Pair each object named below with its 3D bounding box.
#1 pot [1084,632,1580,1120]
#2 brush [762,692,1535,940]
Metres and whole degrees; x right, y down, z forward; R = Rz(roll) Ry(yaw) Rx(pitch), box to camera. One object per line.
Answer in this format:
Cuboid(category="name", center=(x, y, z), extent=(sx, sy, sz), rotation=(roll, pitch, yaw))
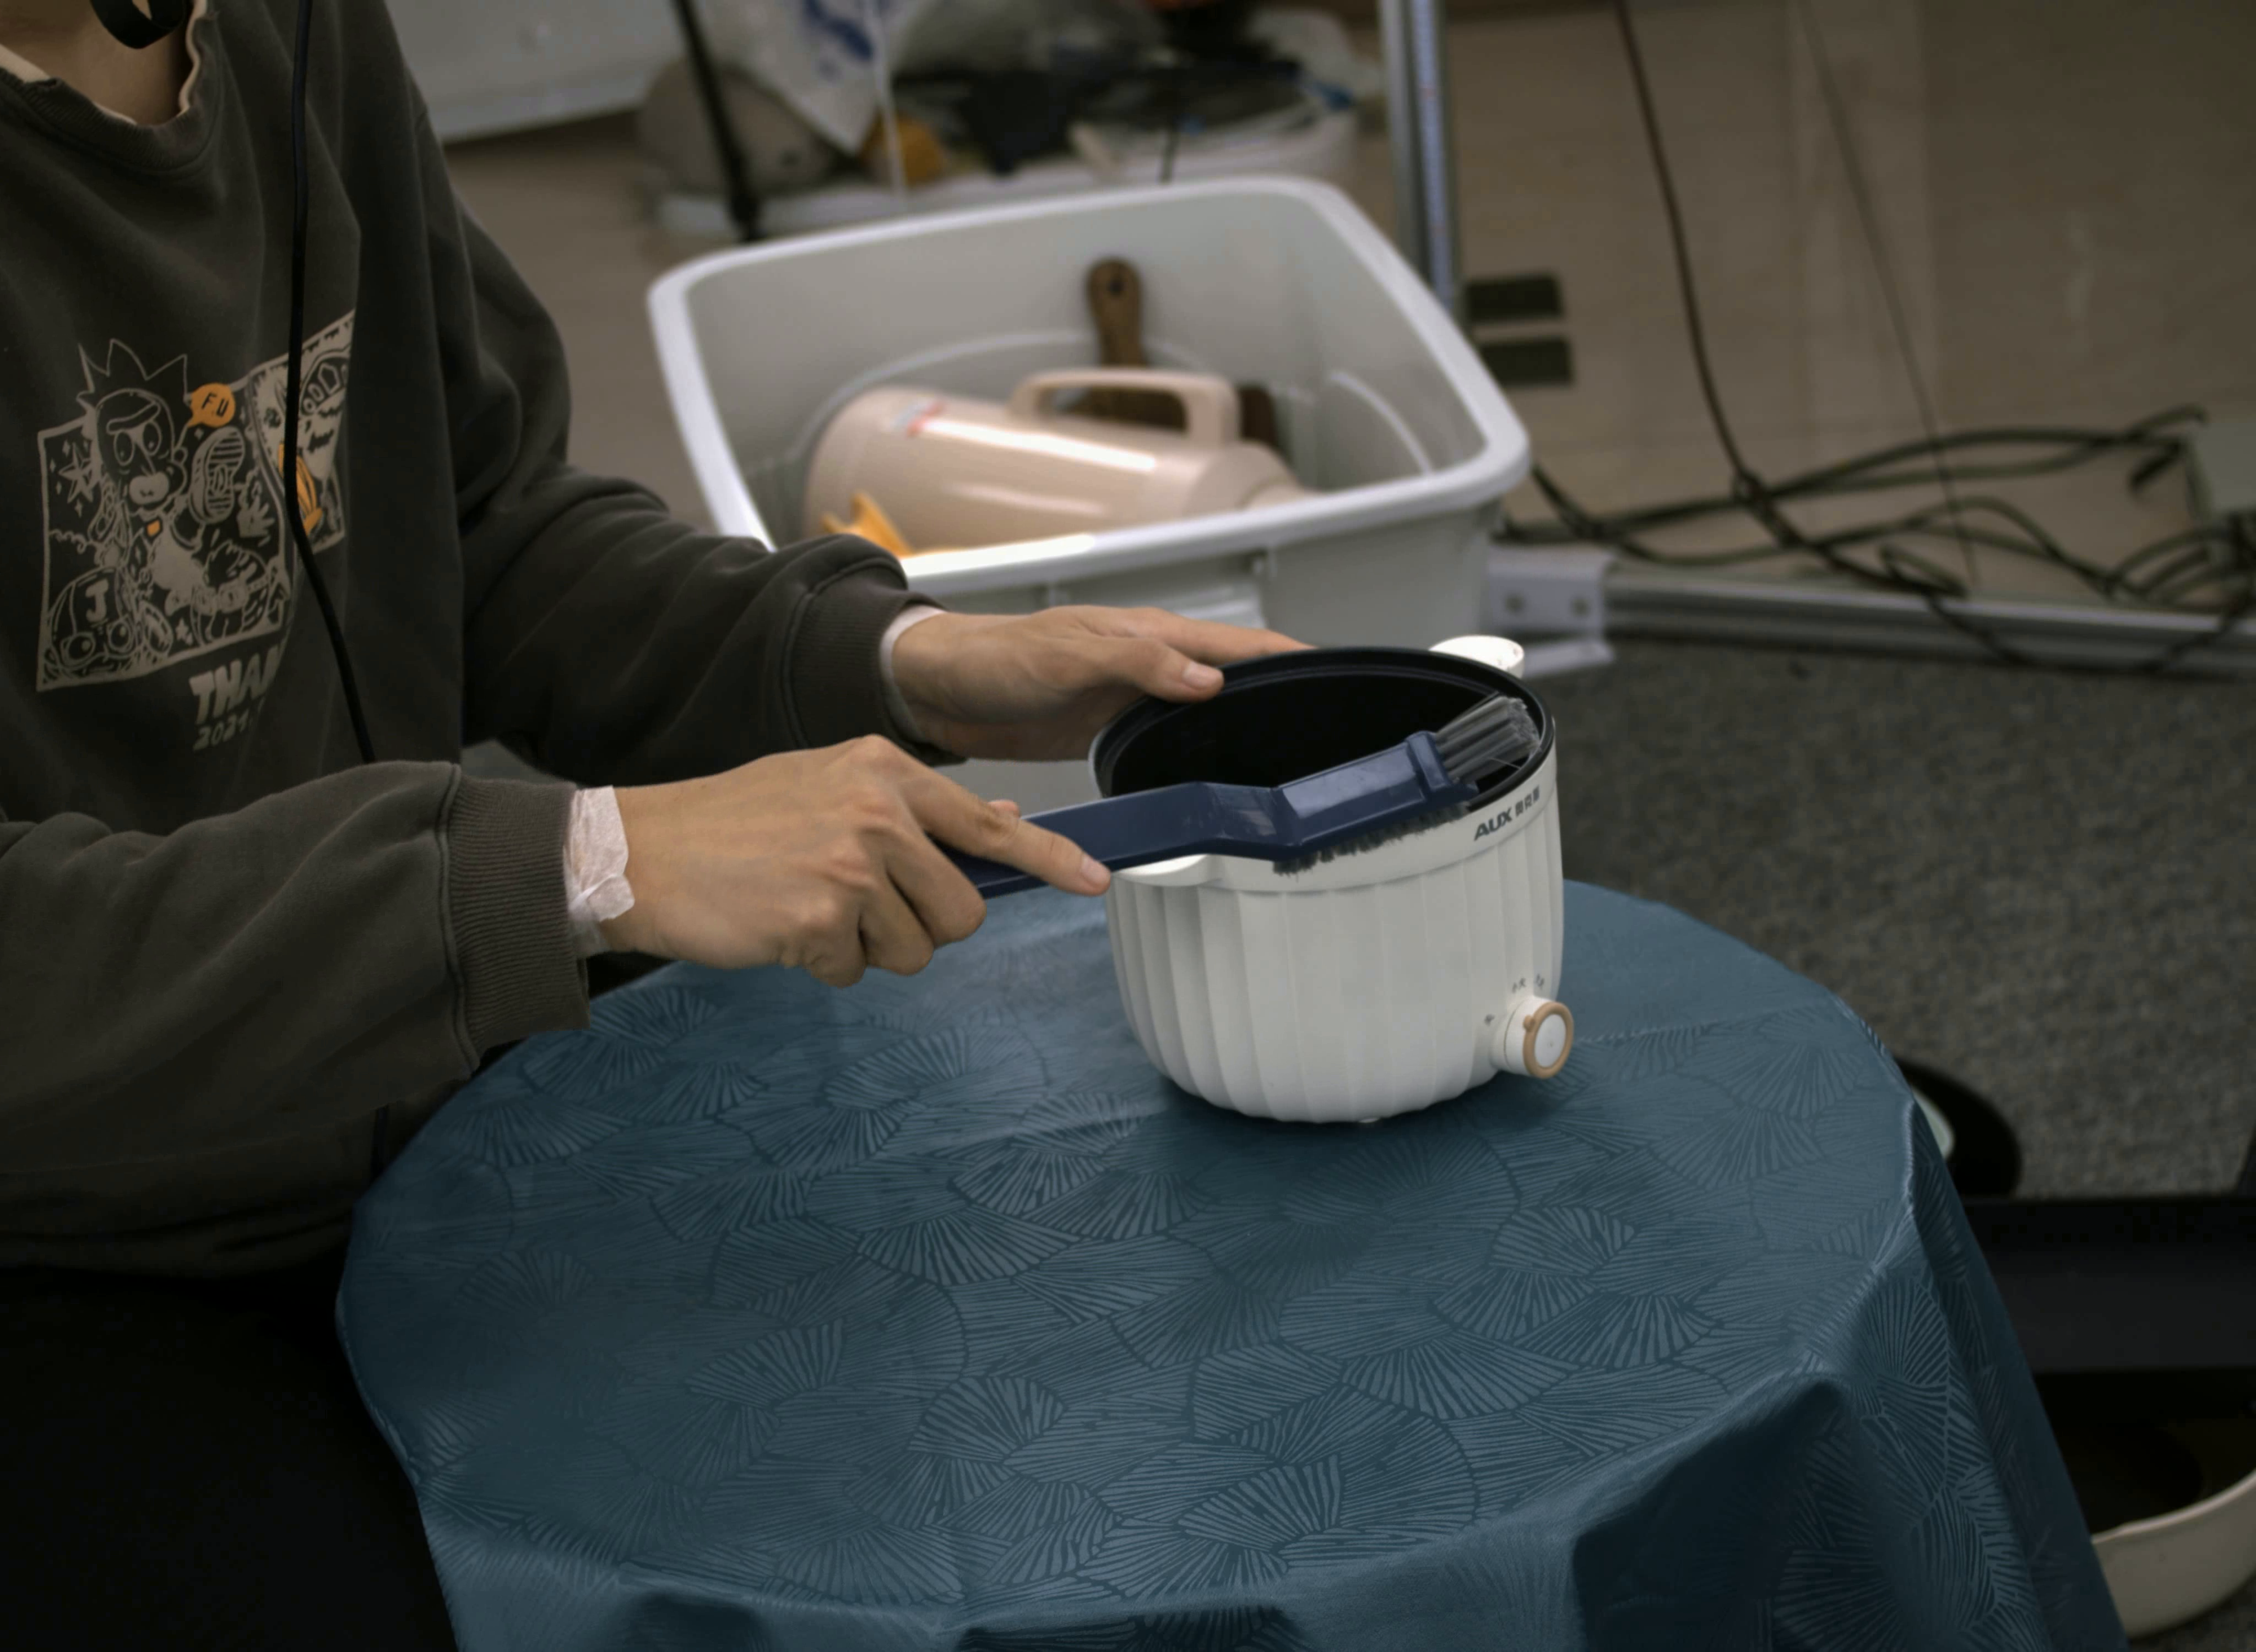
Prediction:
Cuboid(category="pot", center=(0.085, 0.026, 2.199), extent=(0.189, 0.145, 0.238), rotation=(11, 31, 39))
Cuboid(category="brush", center=(0.007, -0.005, 2.000), extent=(0.272, 0.097, 0.033), rotation=(-8, 65, -27))
